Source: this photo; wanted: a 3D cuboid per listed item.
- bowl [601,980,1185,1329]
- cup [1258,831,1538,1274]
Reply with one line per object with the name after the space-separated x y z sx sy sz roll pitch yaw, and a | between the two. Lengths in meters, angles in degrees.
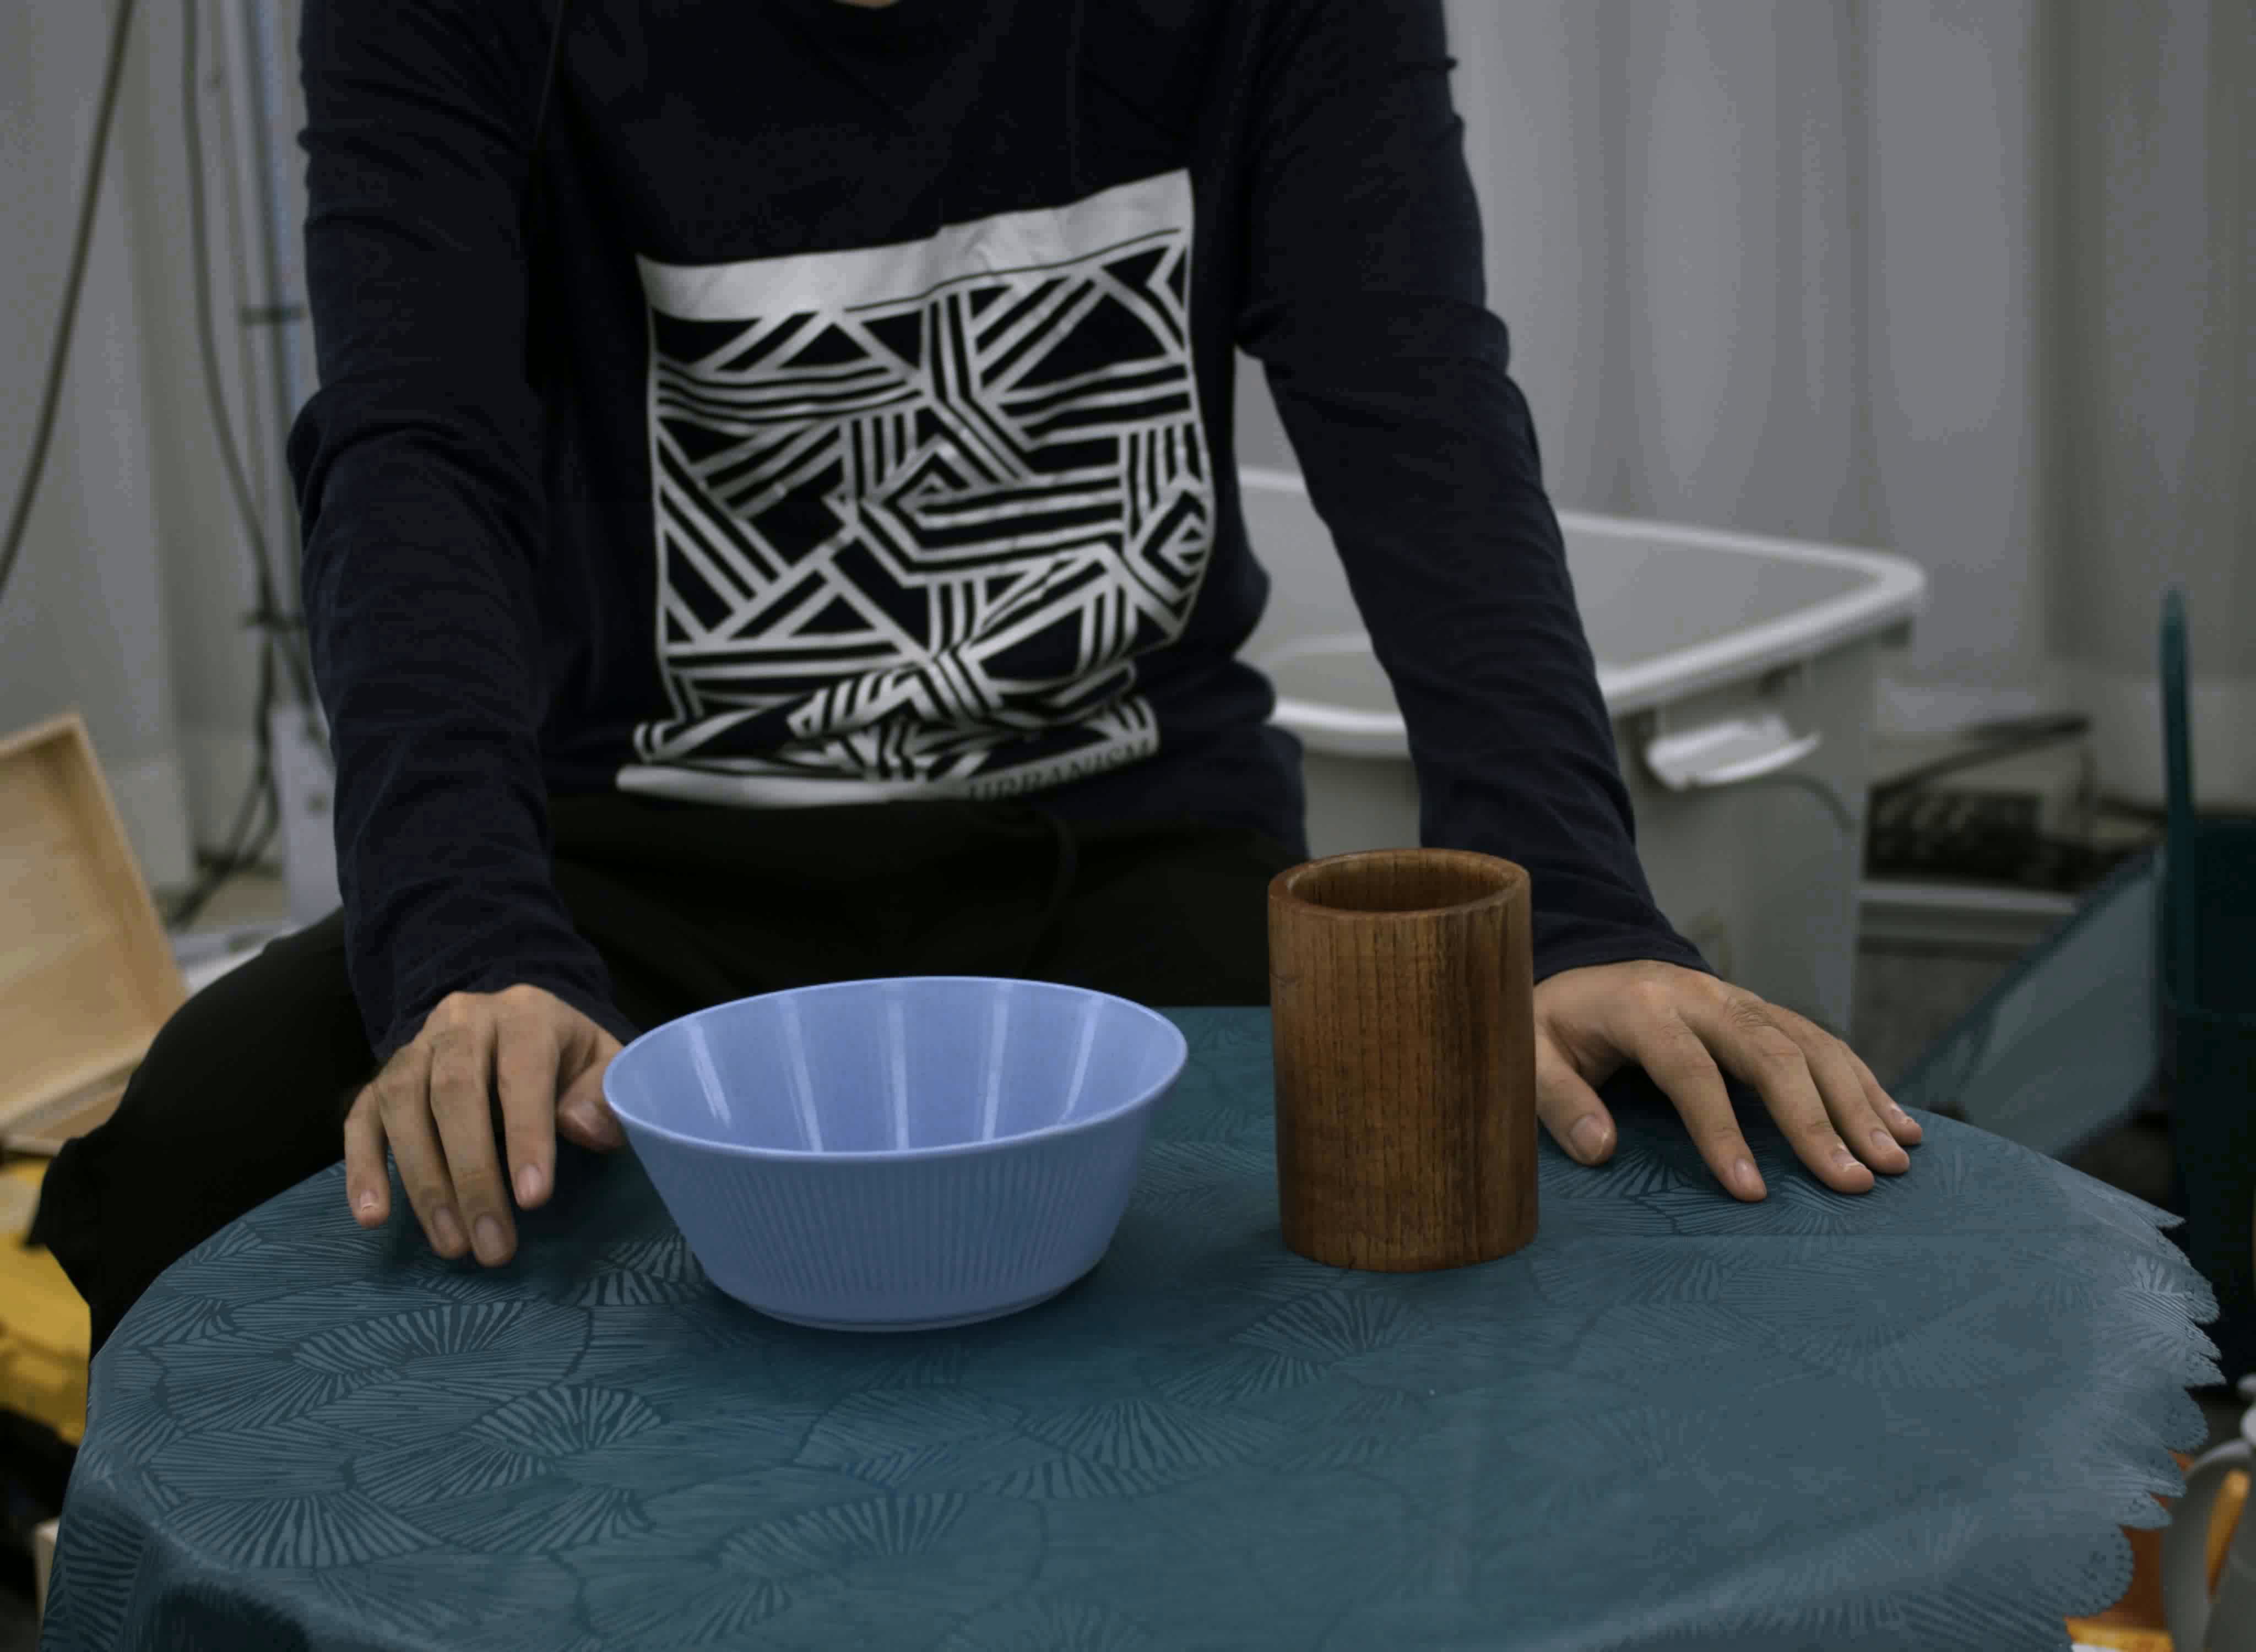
-0.069 0.101 1.645 0.175 0.070 0.177 -2 14 0 | bowl
0.082 0.067 1.652 0.087 0.118 0.088 -2 12 0 | cup
